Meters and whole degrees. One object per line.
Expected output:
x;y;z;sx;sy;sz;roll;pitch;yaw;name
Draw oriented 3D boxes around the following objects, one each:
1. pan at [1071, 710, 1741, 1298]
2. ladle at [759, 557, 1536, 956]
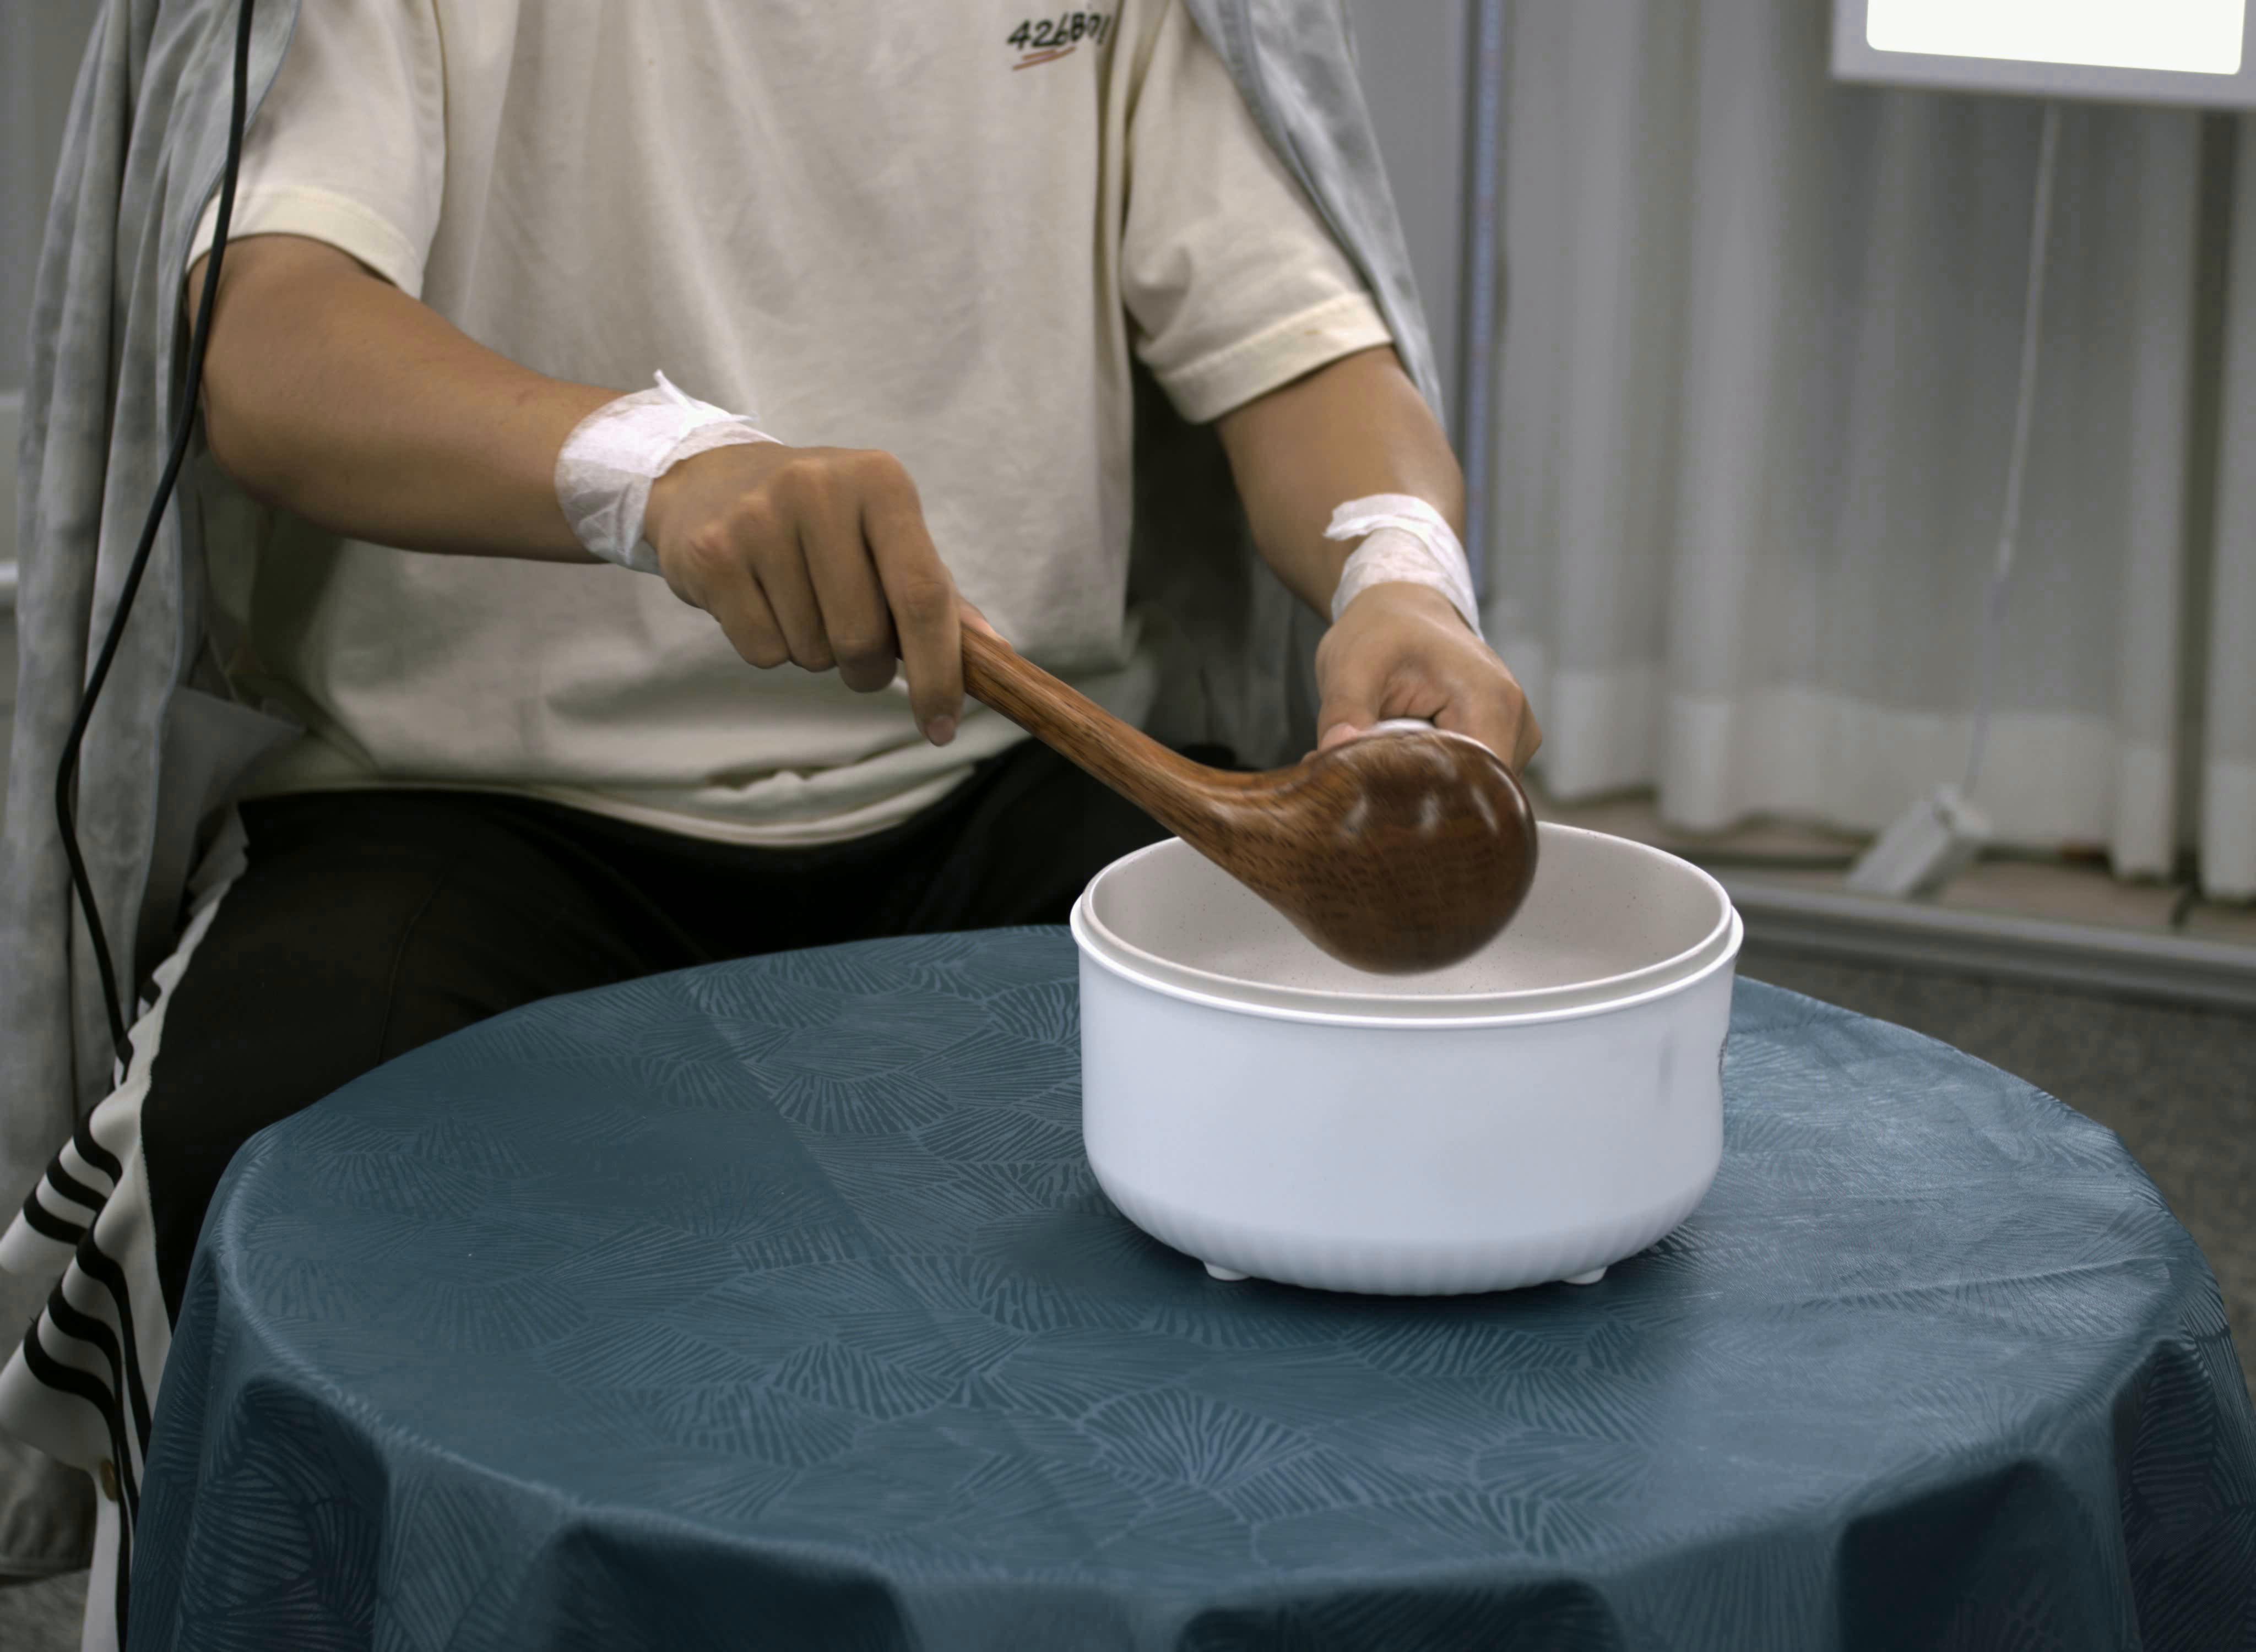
0.086;0.051;1.663;0.200;0.103;0.353;0;15;1;pan
0.005;-0.037;1.610;0.270;0.082;0.077;27;26;37;ladle
